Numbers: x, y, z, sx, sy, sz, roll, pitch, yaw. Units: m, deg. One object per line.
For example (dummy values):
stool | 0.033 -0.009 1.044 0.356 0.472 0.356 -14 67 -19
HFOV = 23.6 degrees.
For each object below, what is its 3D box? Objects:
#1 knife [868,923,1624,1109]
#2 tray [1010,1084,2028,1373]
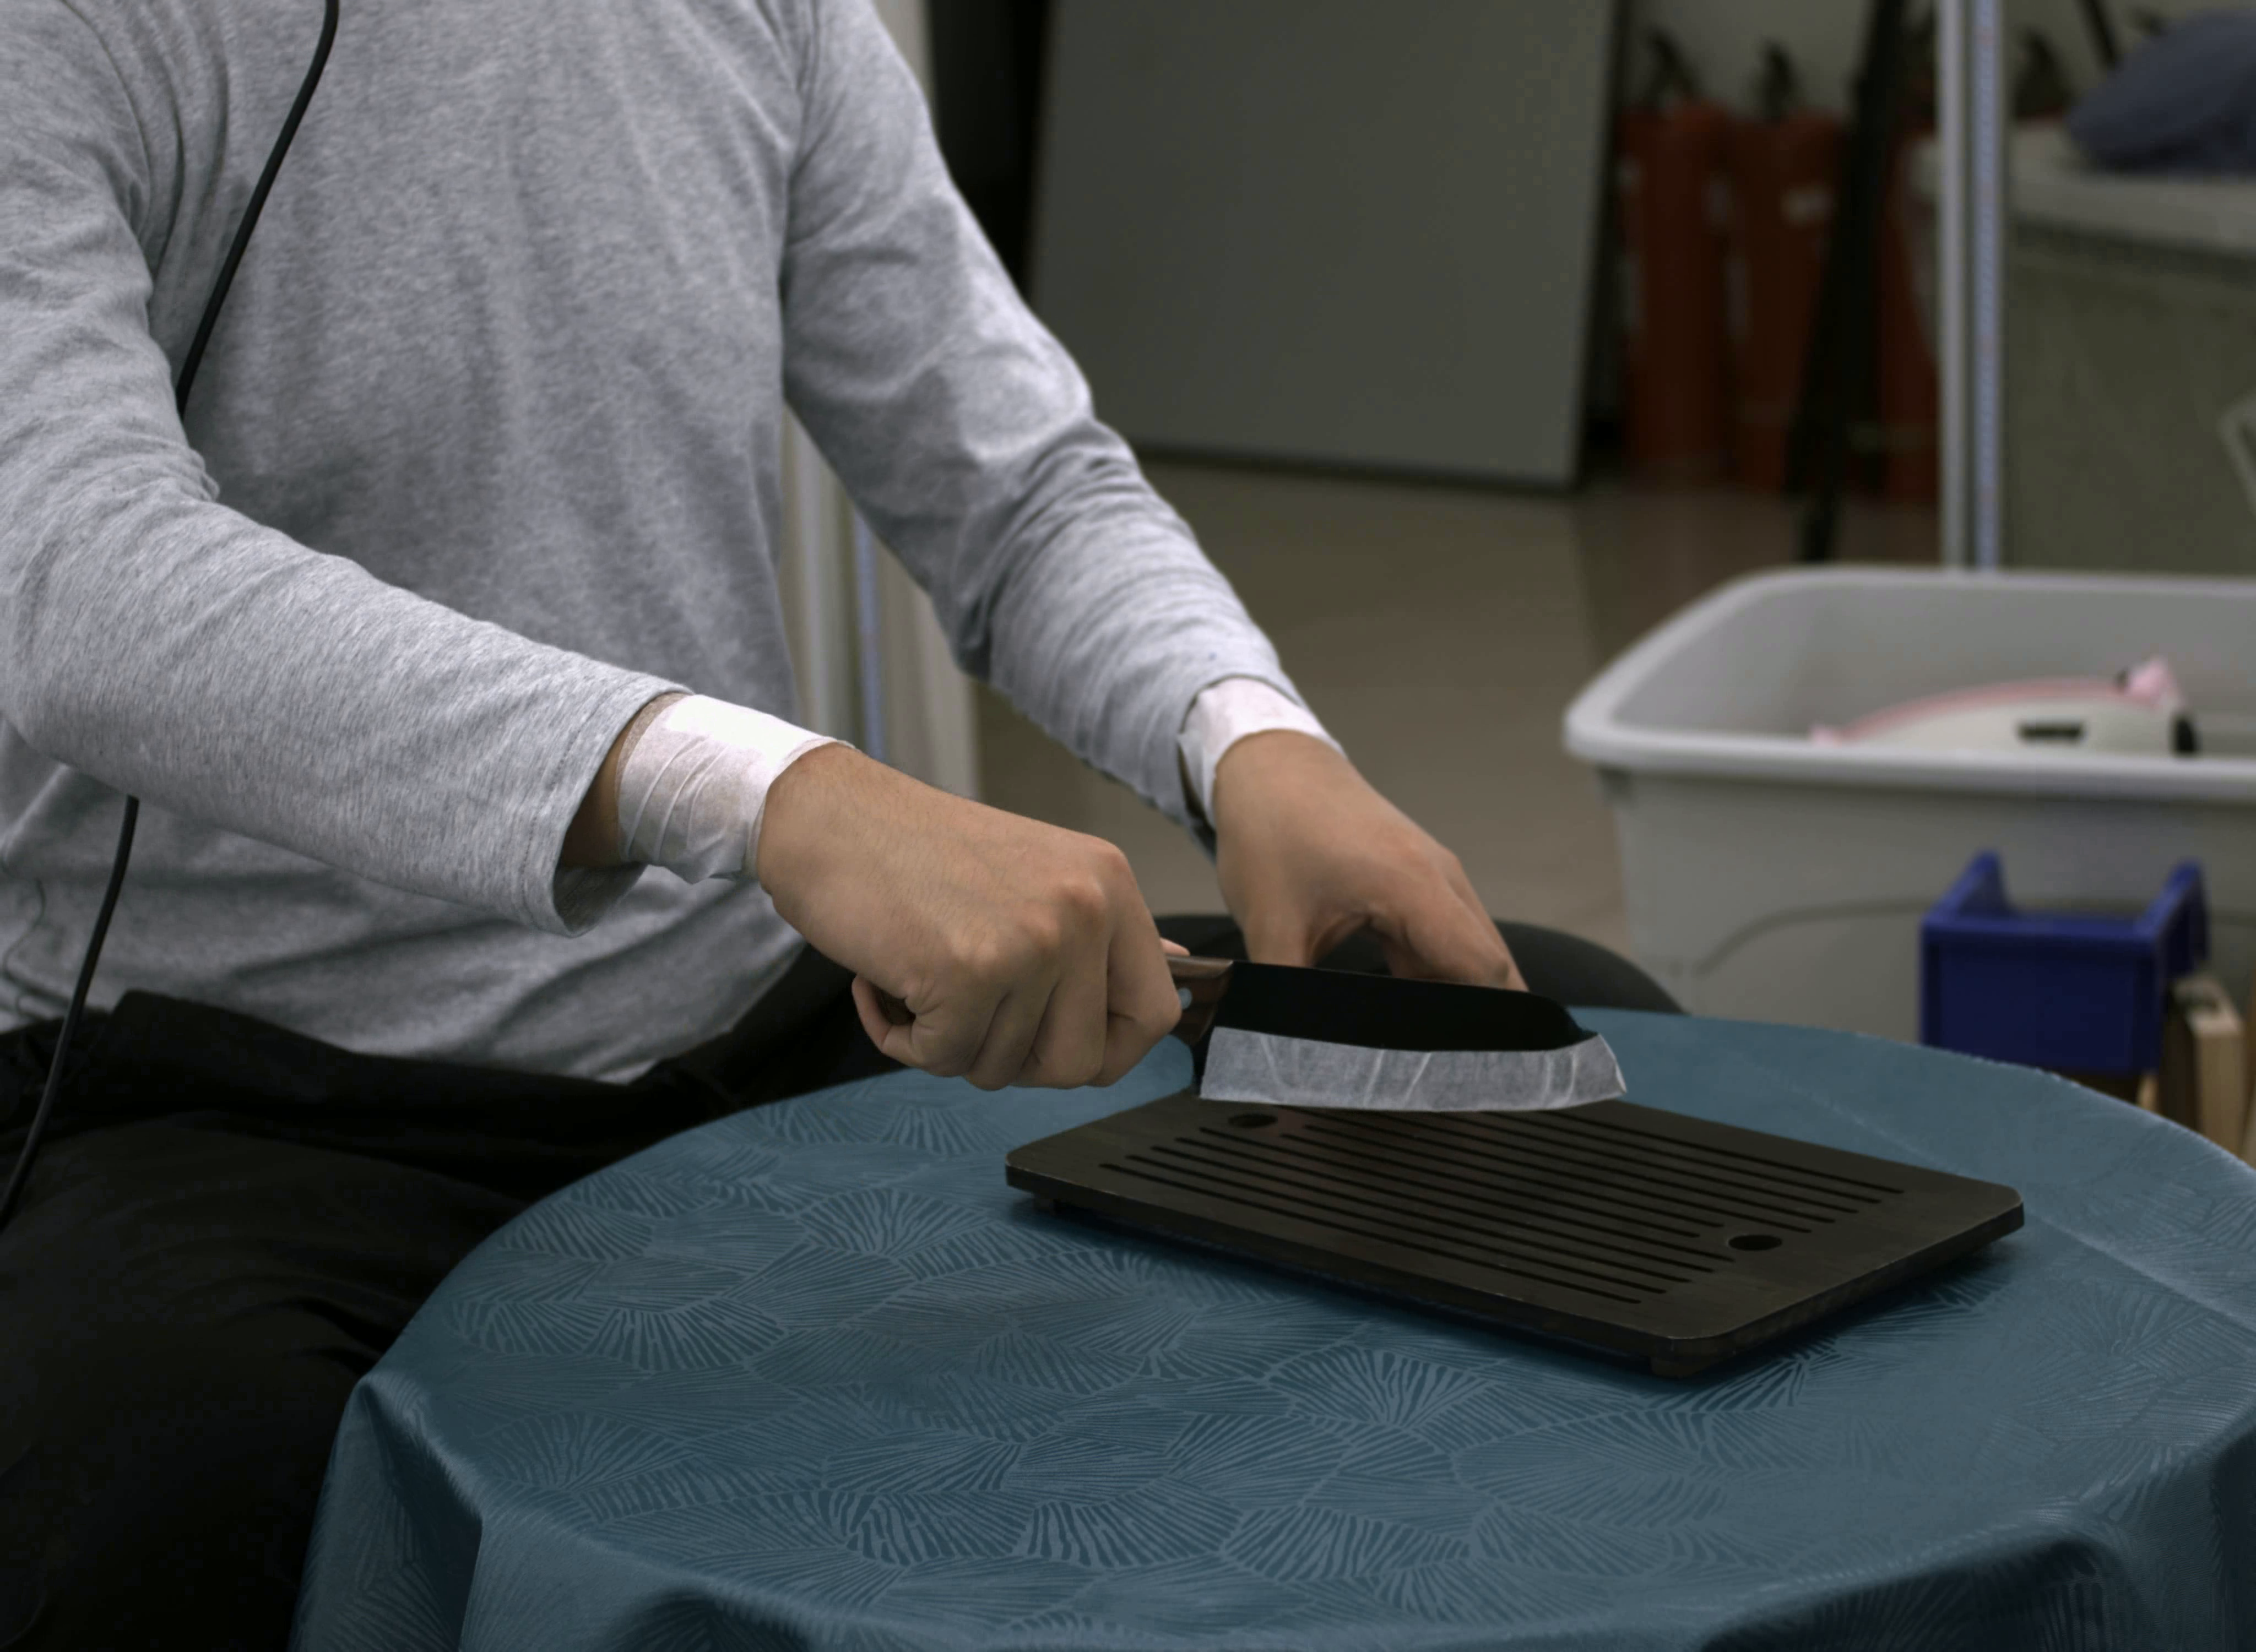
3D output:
knife | 0.043 0.060 1.658 0.282 0.051 0.020 10 7 -32
tray | 0.120 0.119 1.712 0.166 0.019 0.309 -16 17 -41
